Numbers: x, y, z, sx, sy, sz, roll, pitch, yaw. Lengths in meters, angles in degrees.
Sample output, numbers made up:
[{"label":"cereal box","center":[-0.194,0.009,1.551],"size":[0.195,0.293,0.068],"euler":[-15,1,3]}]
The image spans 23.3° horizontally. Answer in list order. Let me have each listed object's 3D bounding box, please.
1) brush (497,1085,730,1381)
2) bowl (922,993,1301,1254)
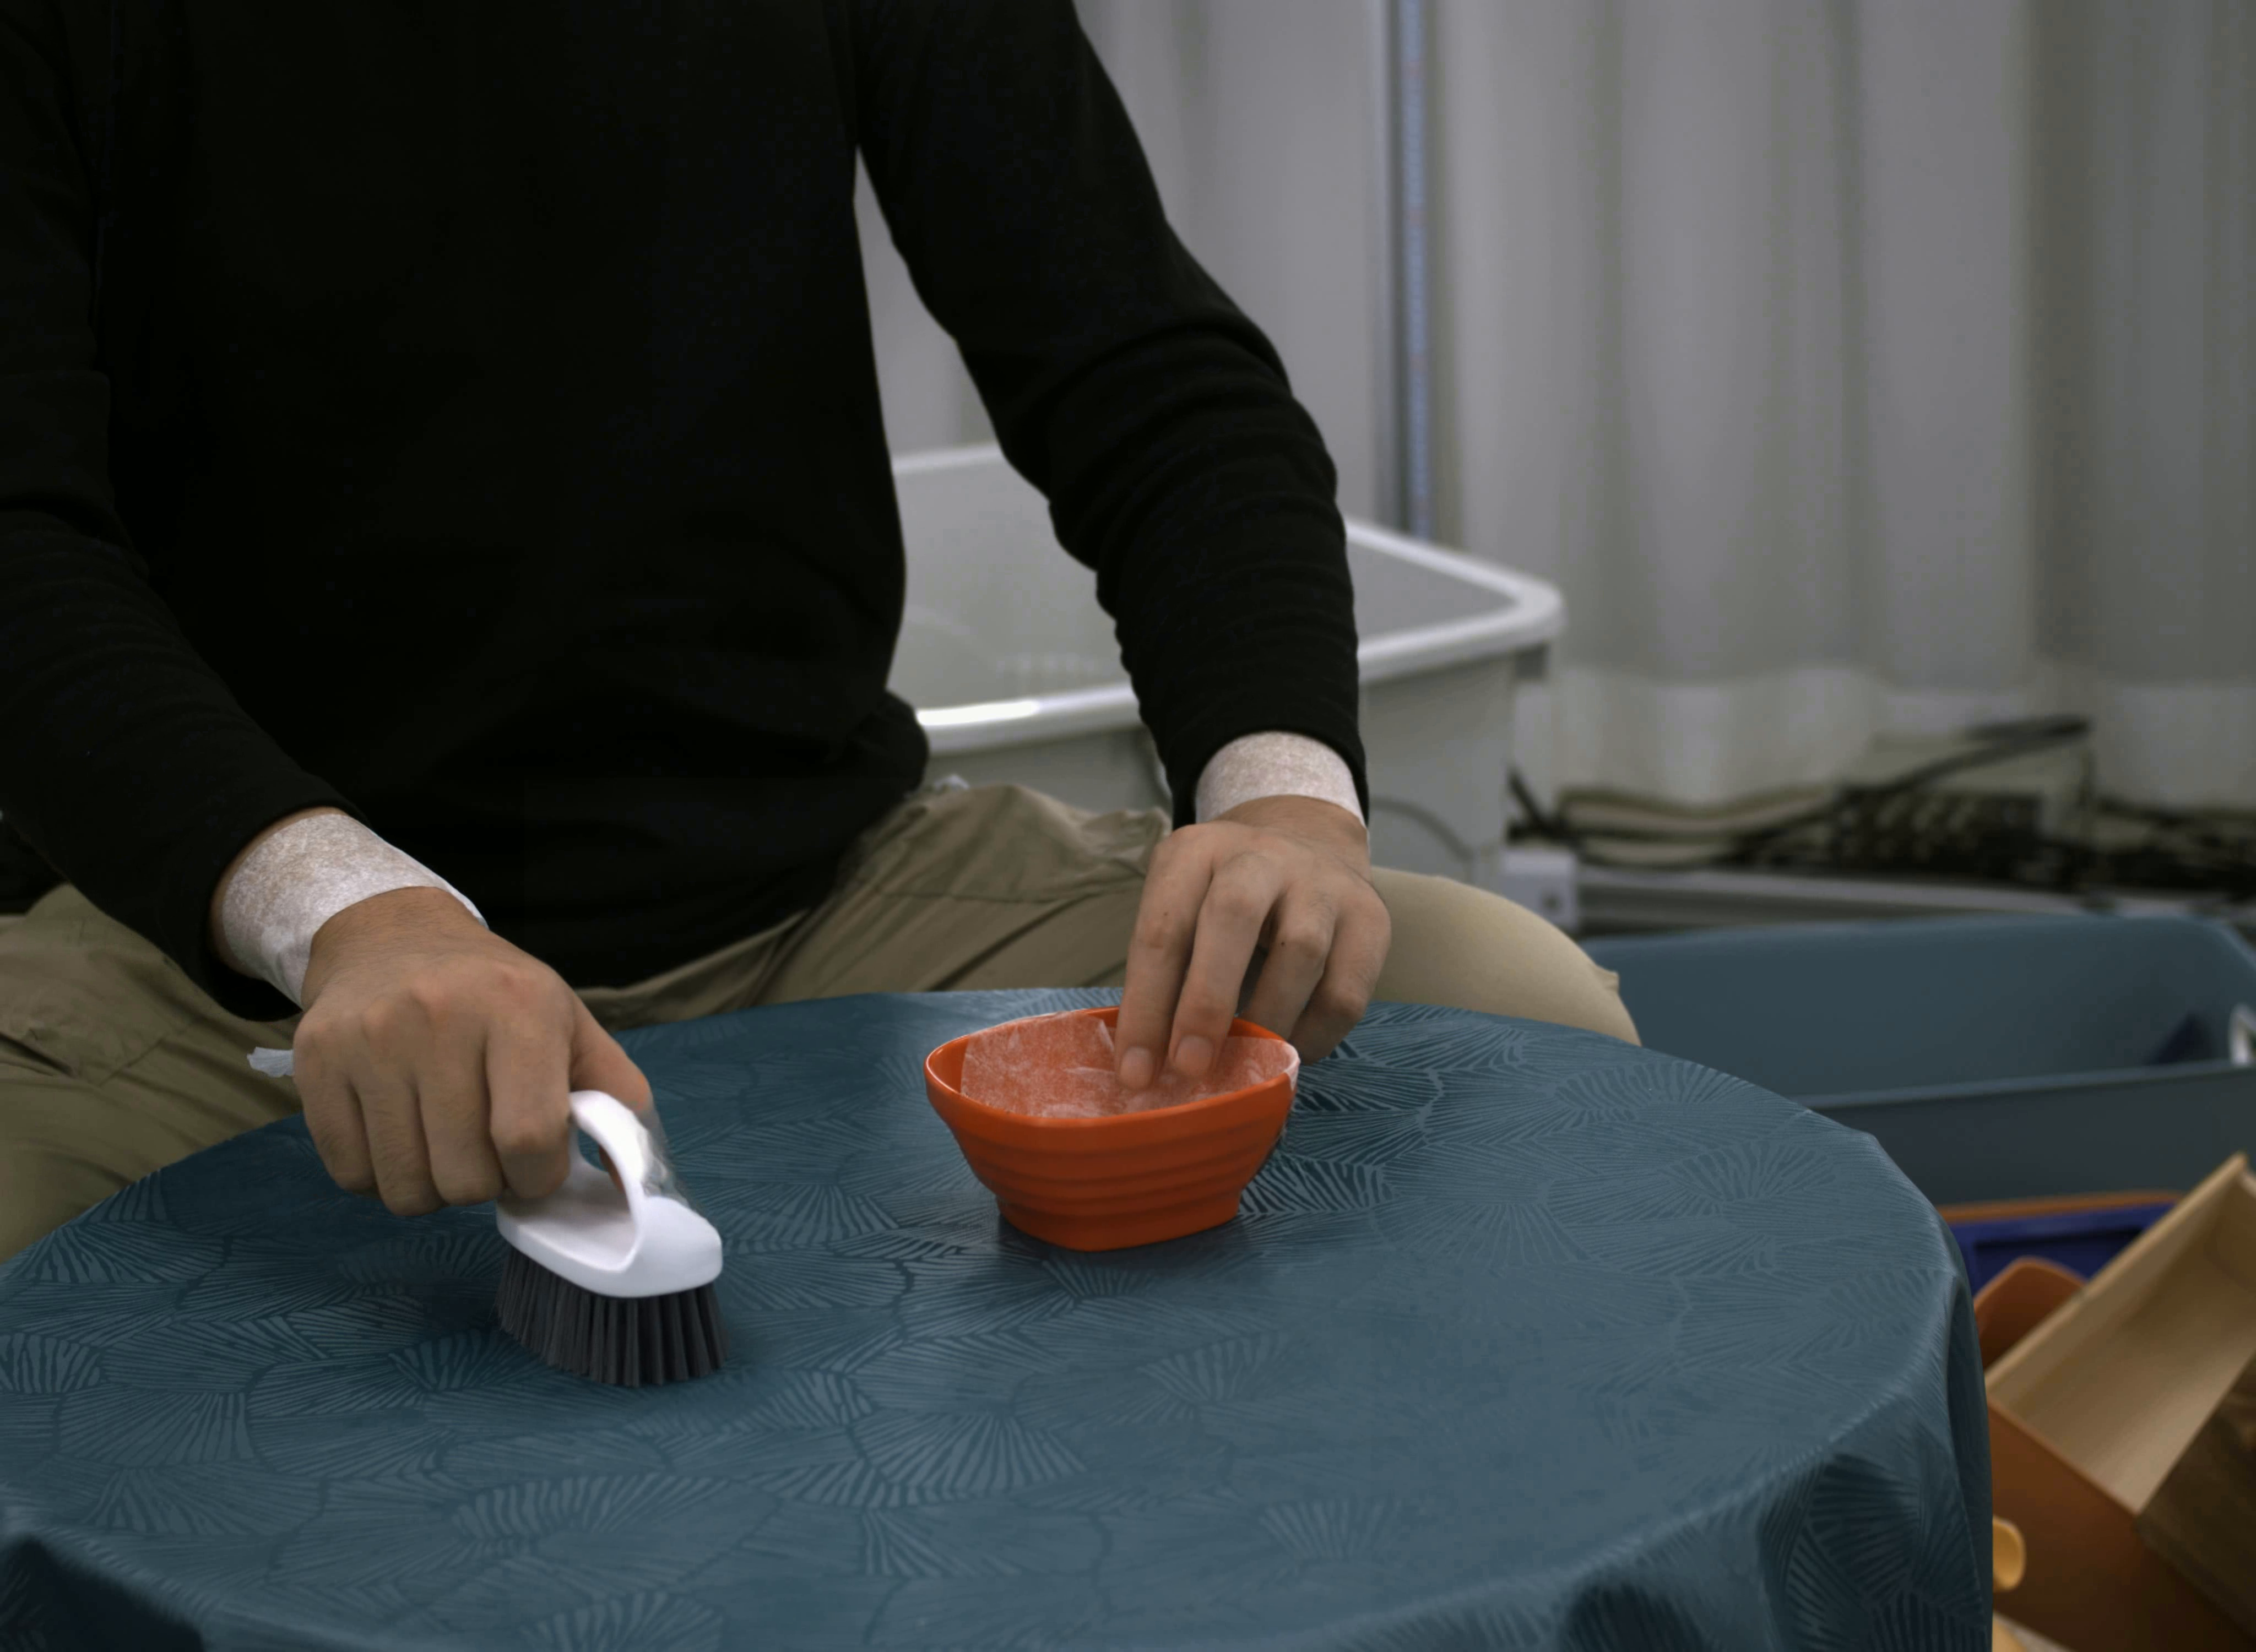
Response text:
[{"label":"brush","center":[-0.153,0.114,1.603],"size":[0.050,0.072,0.100],"euler":[-10,16,-26]},{"label":"bowl","center":[-0.004,0.094,1.689],"size":[0.118,0.051,0.120],"euler":[-3,18,1]}]
